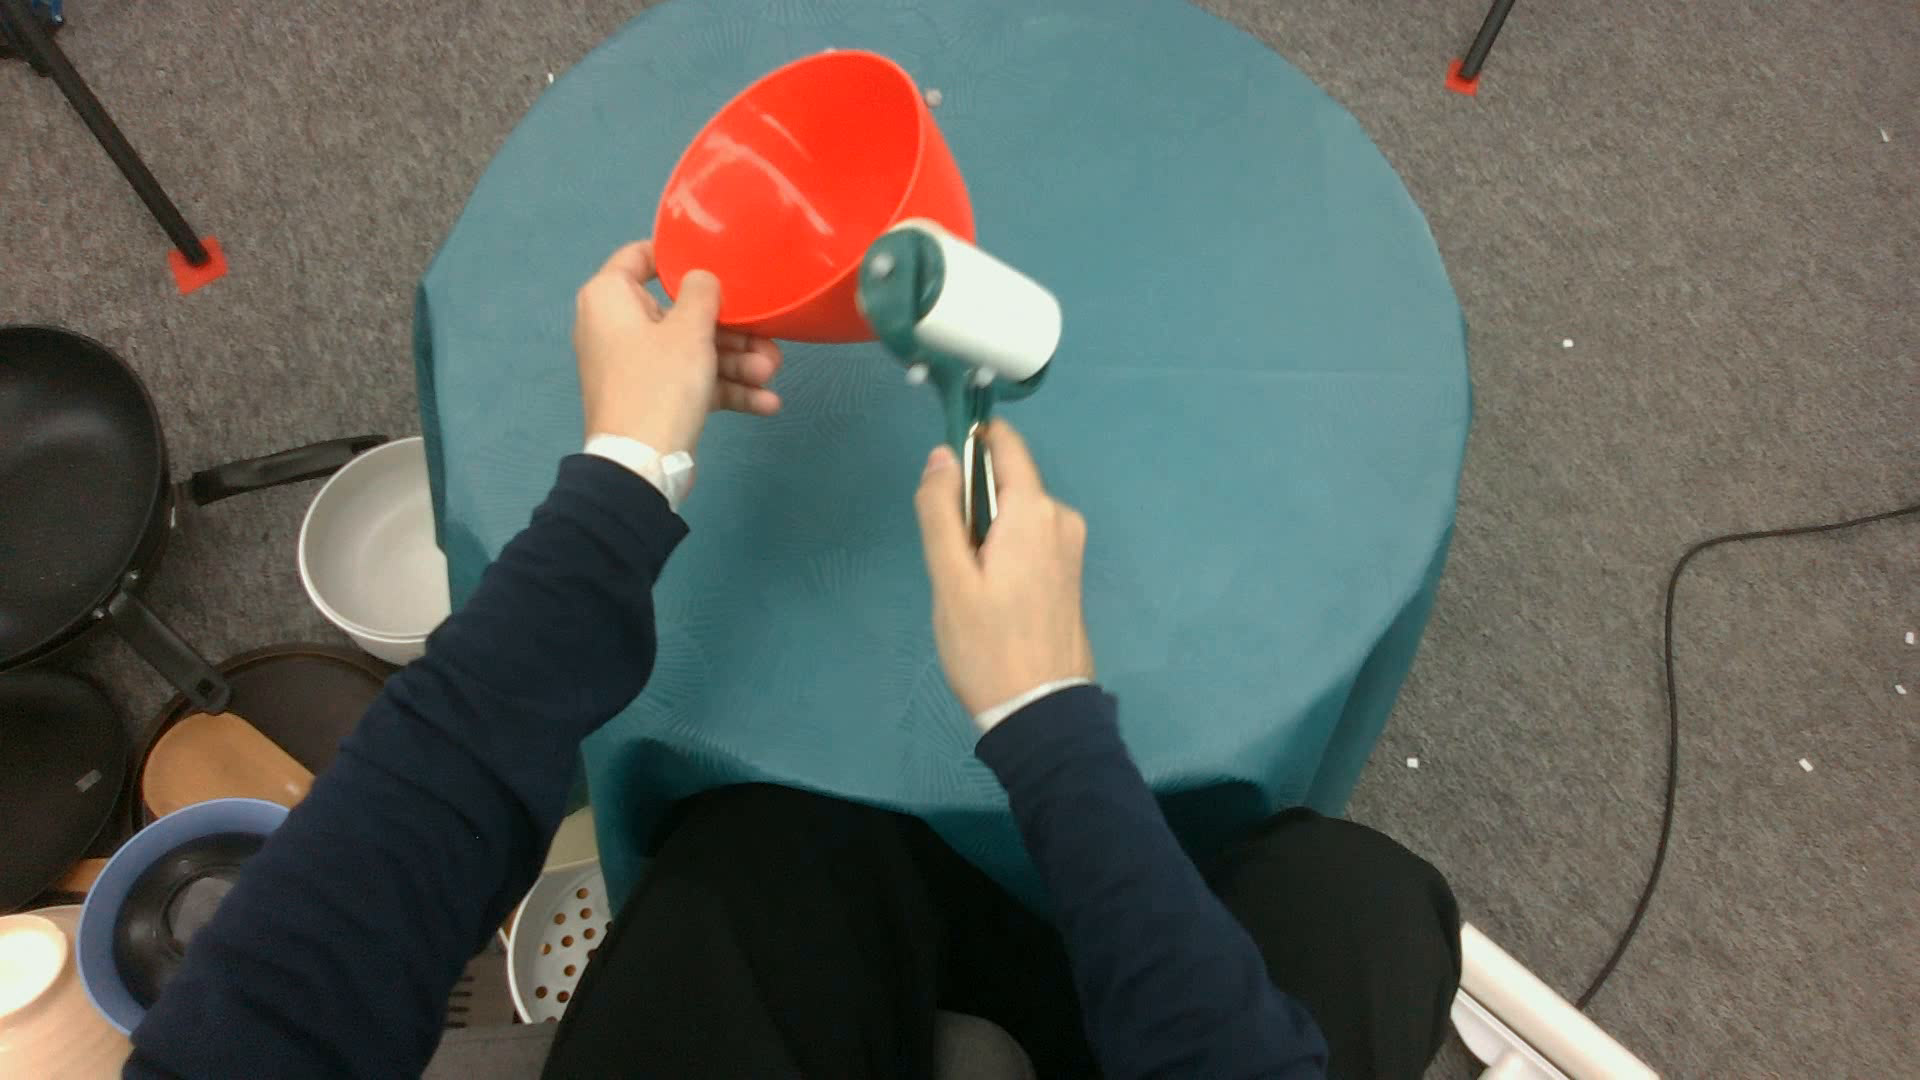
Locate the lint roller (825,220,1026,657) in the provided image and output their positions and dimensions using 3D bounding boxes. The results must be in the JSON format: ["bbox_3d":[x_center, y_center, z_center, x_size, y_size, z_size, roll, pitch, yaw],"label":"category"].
[{"bbox_3d":[-0.003,-0.041,0.607,0.048,0.134,0.180,-15,78,28],"label":"lint roller"}]

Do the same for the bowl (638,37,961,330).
[{"bbox_3d":[-0.065,-0.156,0.663,0.147,0.104,0.148,-18,59,32],"label":"bowl"}]
